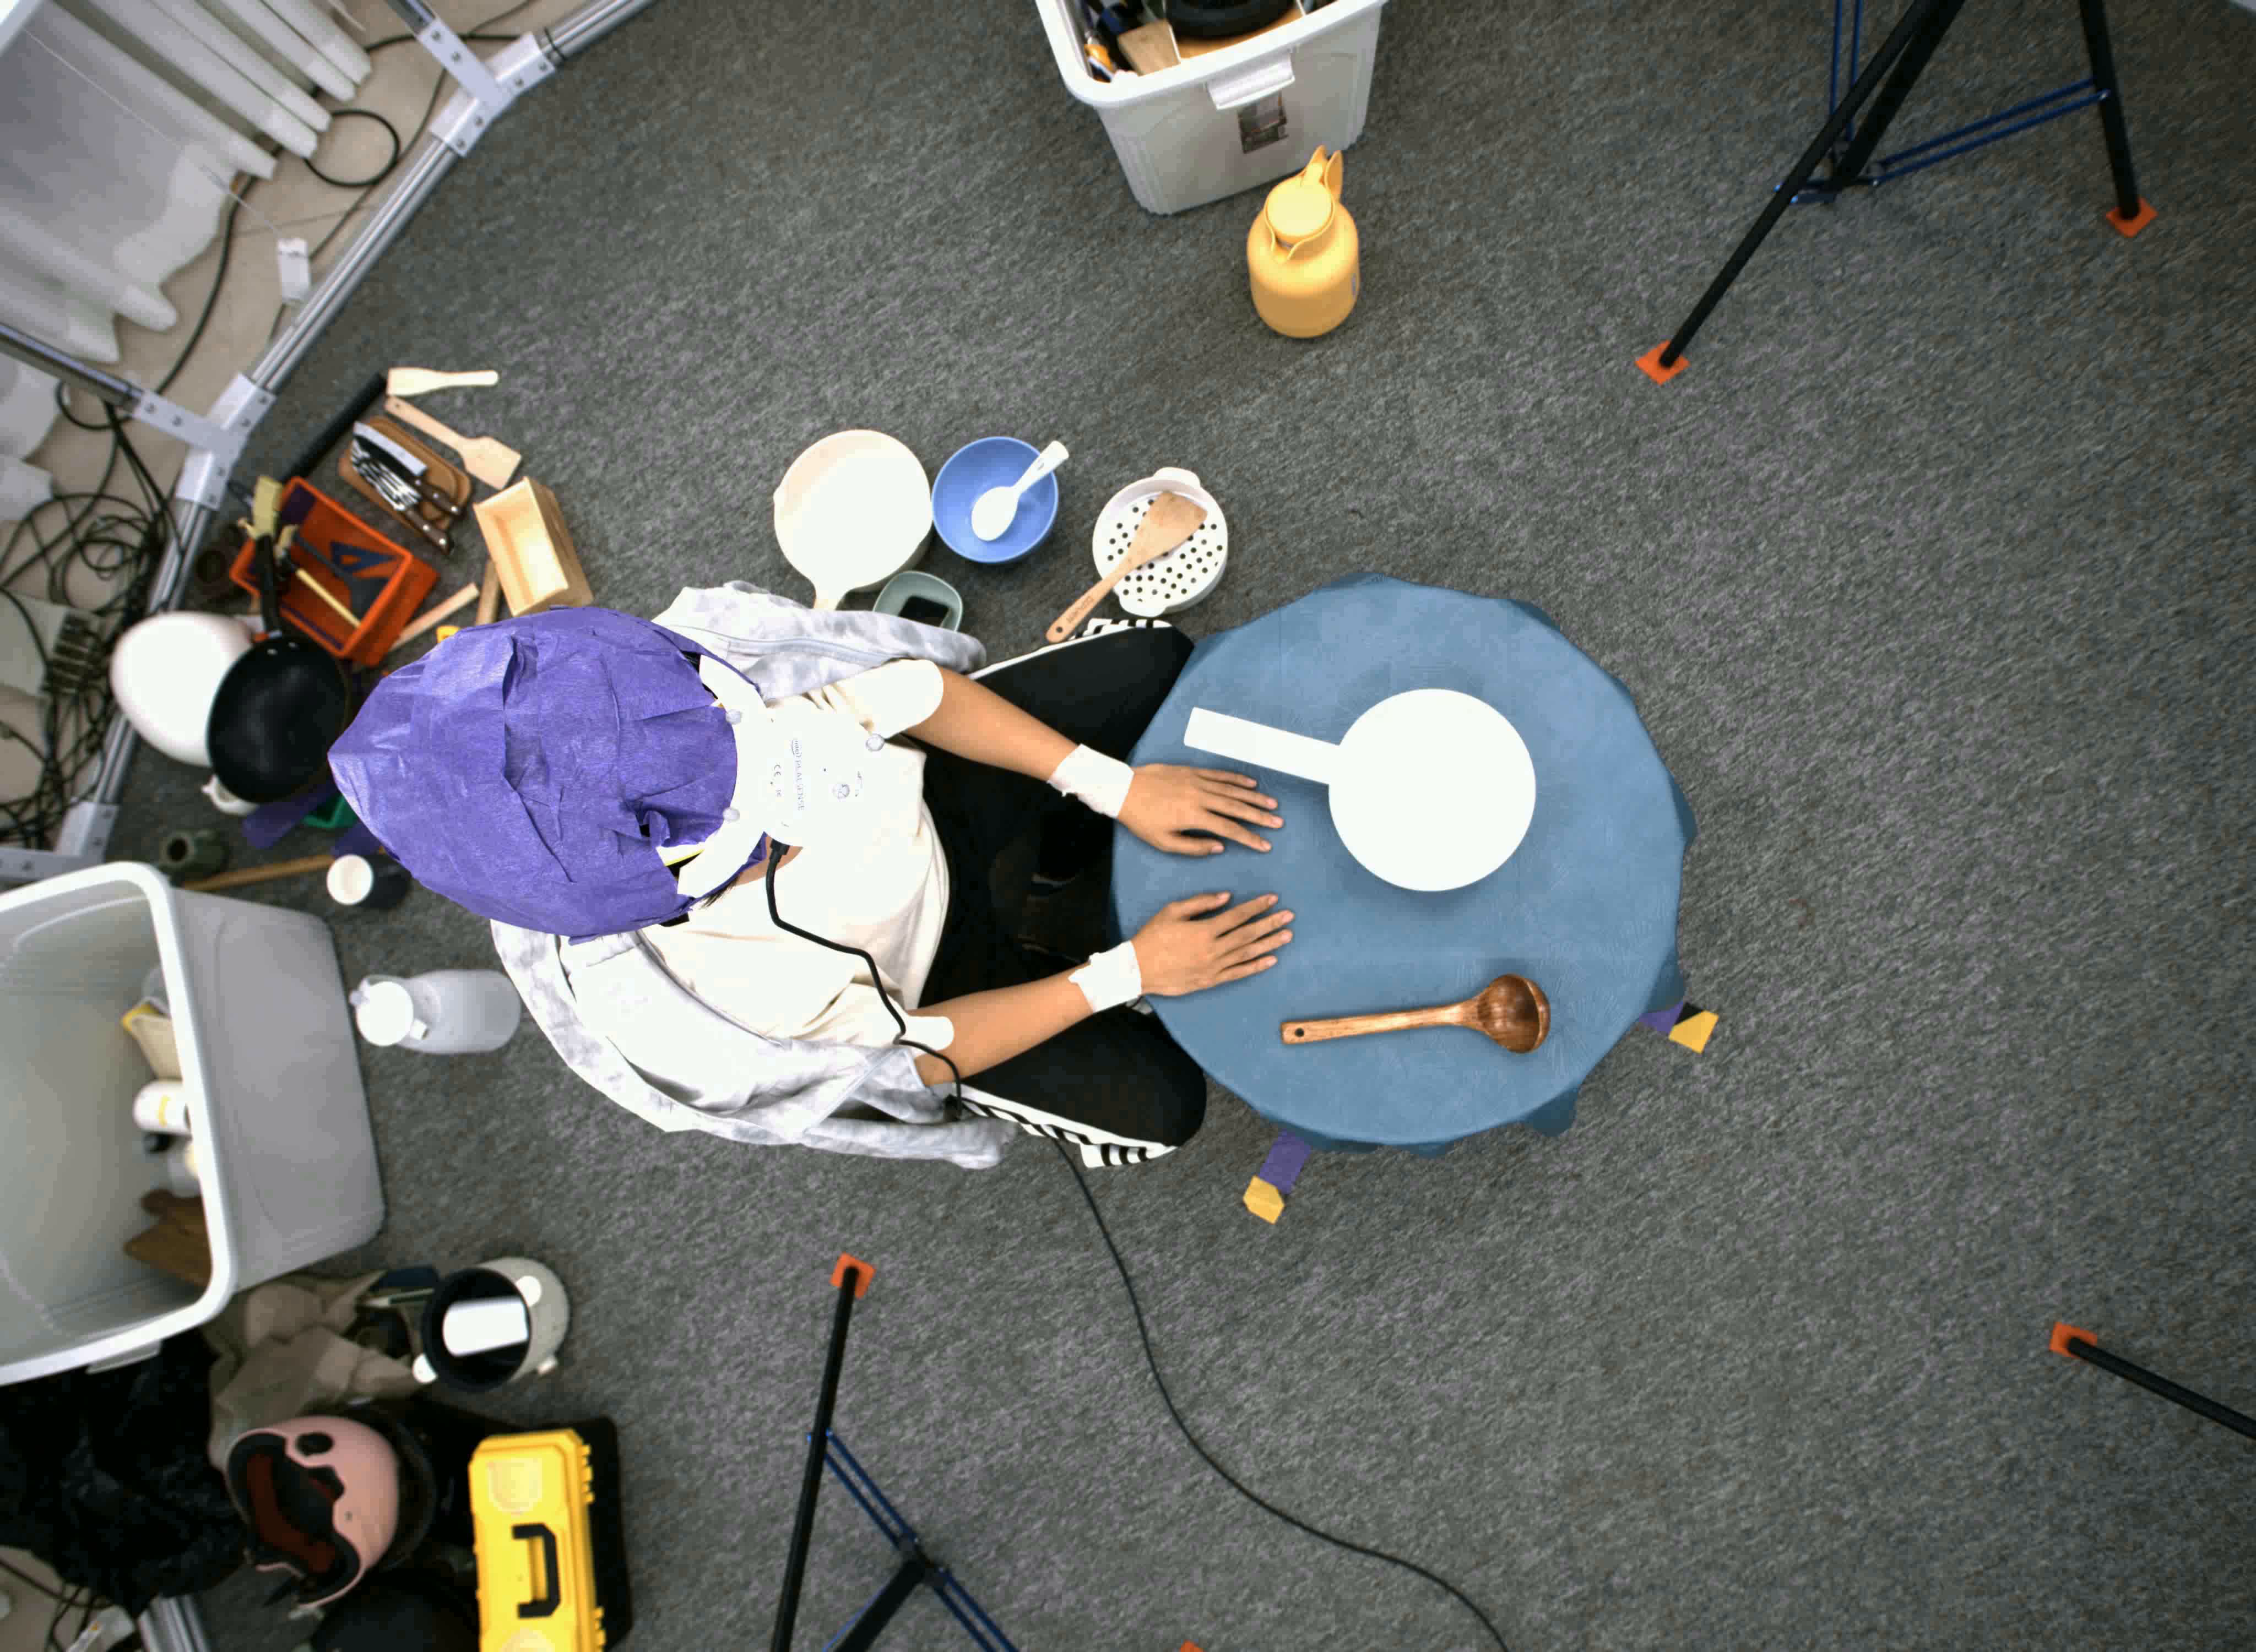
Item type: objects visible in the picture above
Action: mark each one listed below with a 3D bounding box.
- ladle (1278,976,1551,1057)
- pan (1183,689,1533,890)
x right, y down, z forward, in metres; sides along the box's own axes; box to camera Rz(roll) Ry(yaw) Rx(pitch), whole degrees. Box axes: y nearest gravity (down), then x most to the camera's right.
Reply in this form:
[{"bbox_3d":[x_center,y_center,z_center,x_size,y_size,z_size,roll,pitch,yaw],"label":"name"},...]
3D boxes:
[{"bbox_3d":[0.289,0.199,1.408,0.275,0.076,0.081,-5,87,9],"label":"ladle"},{"bbox_3d":[0.234,-0.055,1.423,0.355,0.102,0.201,16,90,12],"label":"pan"}]
